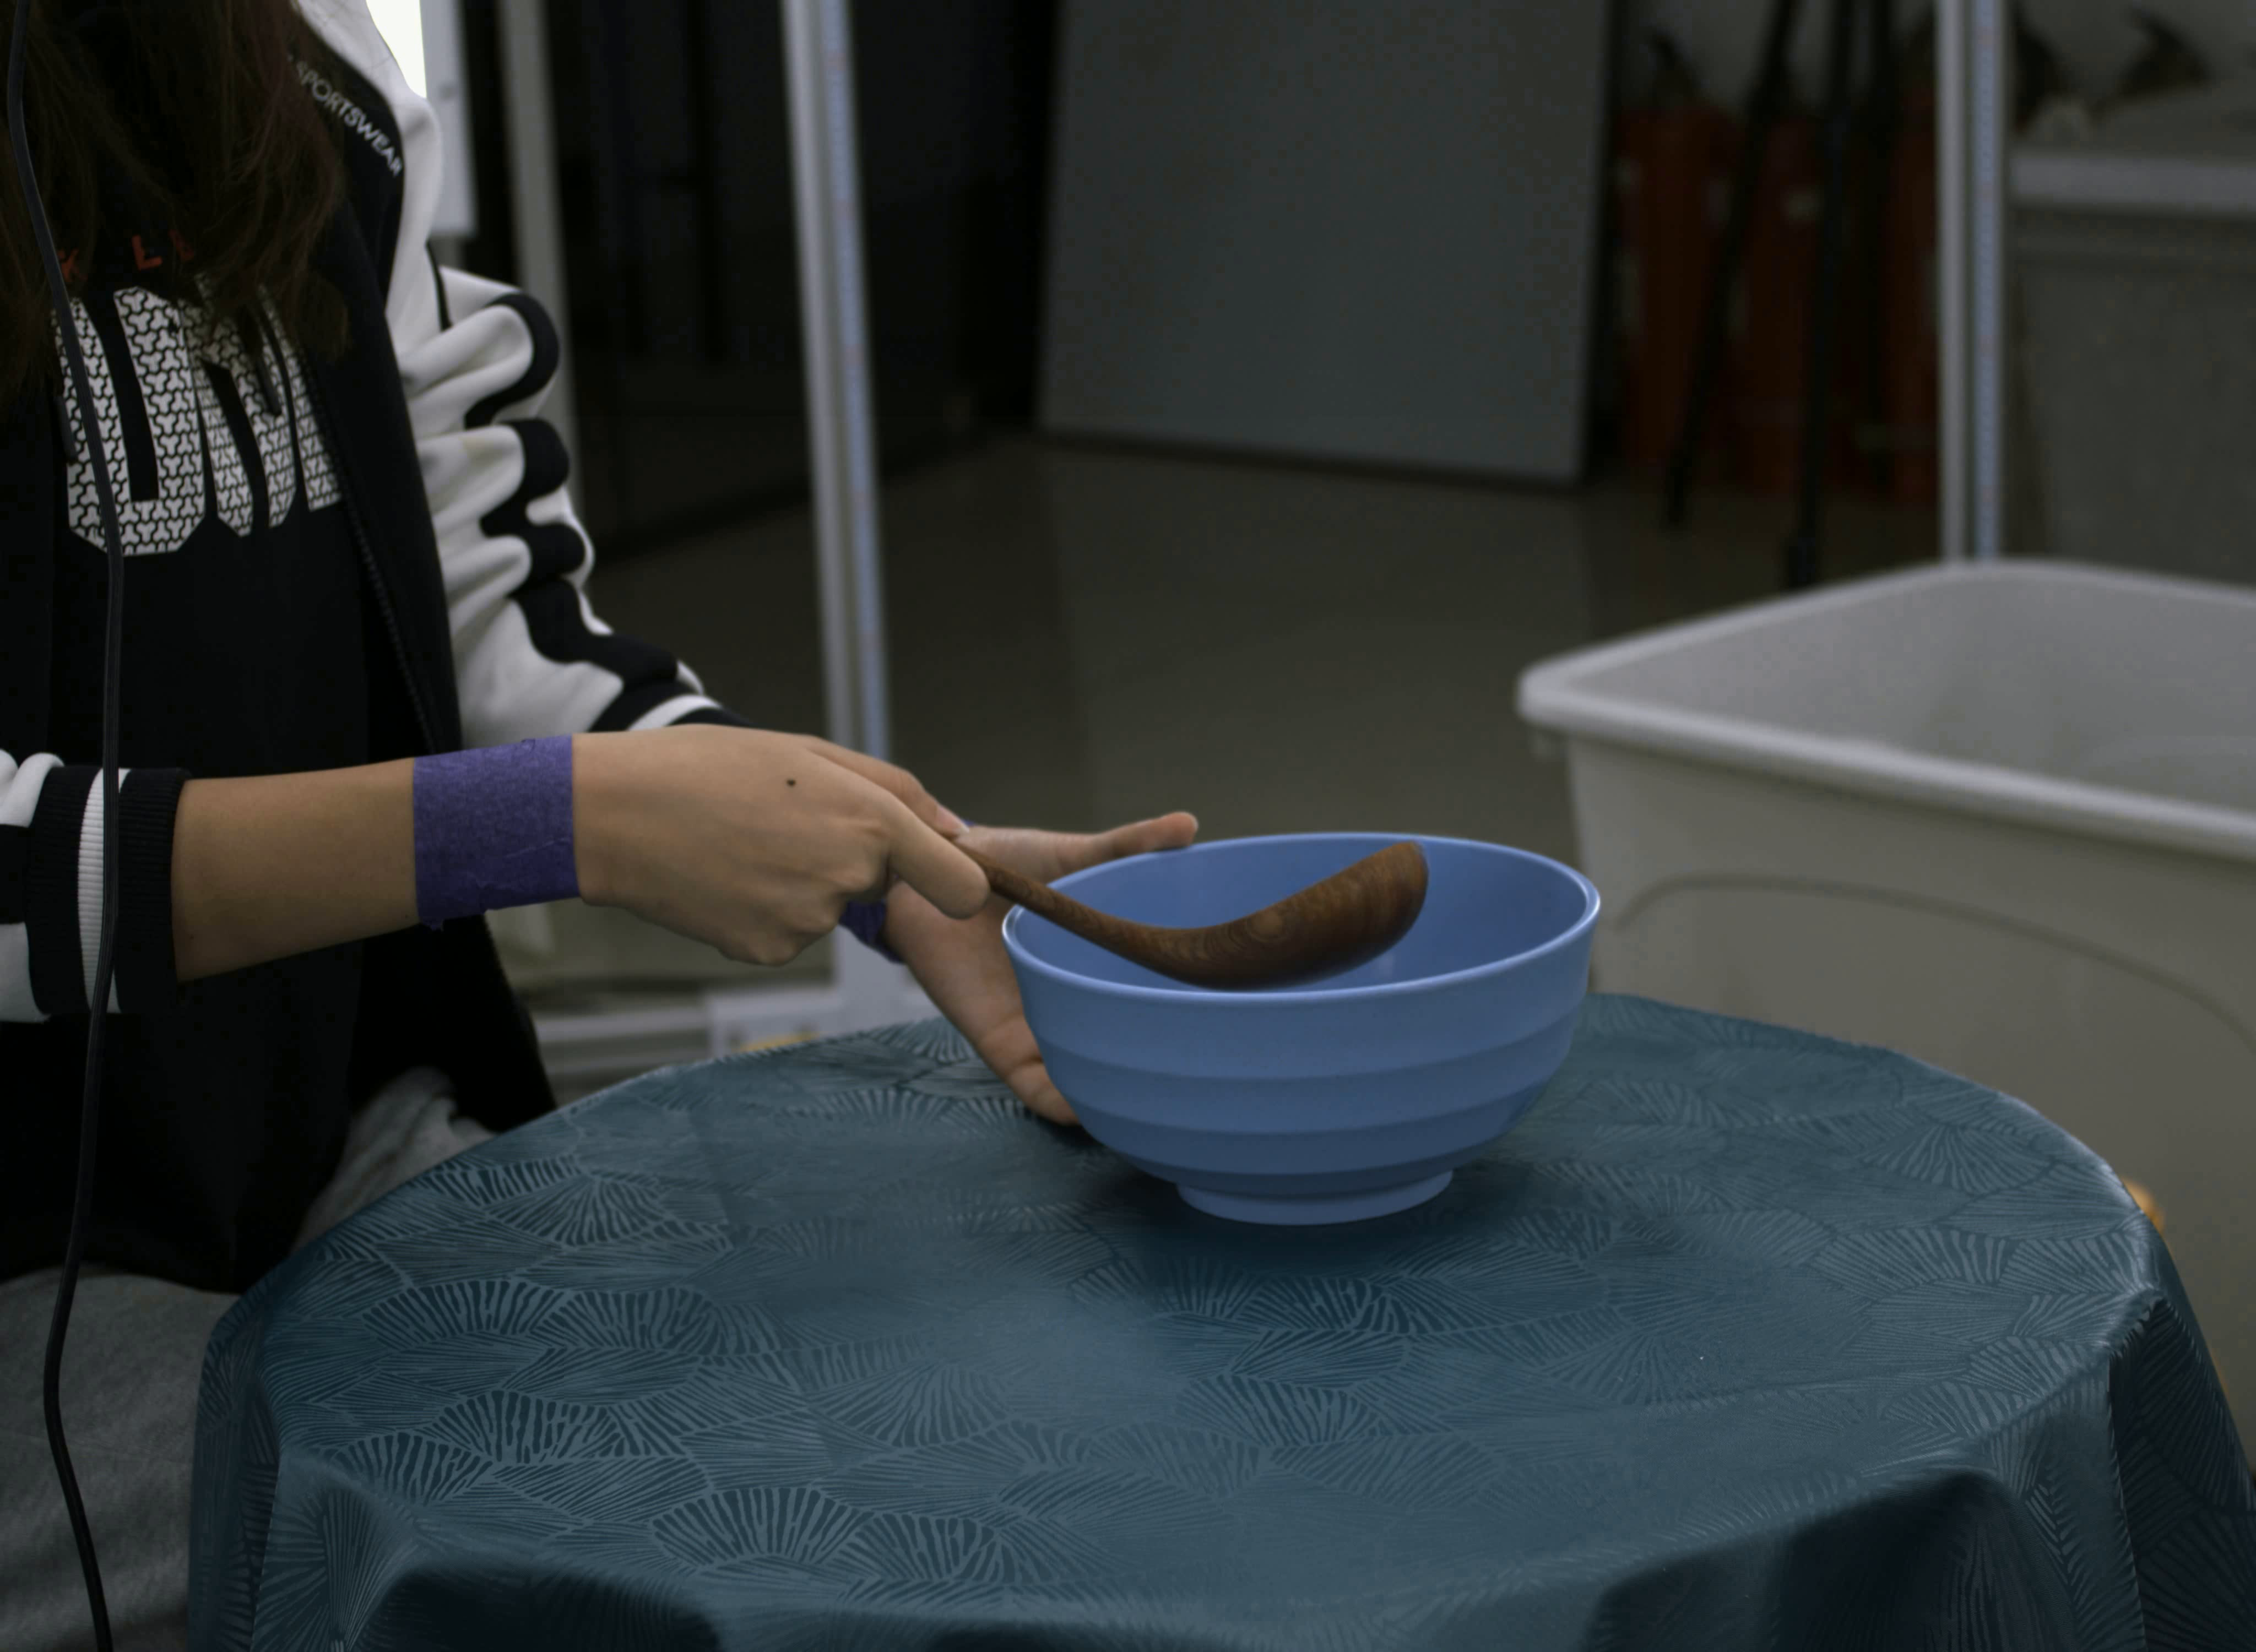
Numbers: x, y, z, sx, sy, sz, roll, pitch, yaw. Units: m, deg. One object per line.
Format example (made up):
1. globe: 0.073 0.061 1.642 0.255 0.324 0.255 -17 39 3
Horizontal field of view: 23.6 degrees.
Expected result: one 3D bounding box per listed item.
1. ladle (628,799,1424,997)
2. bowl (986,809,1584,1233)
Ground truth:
1. ladle: -0.032 0.007 1.750 0.258 0.066 0.076 13 -15 8
2. bowl: 0.053 0.071 1.762 0.194 0.096 0.197 -4 20 1
